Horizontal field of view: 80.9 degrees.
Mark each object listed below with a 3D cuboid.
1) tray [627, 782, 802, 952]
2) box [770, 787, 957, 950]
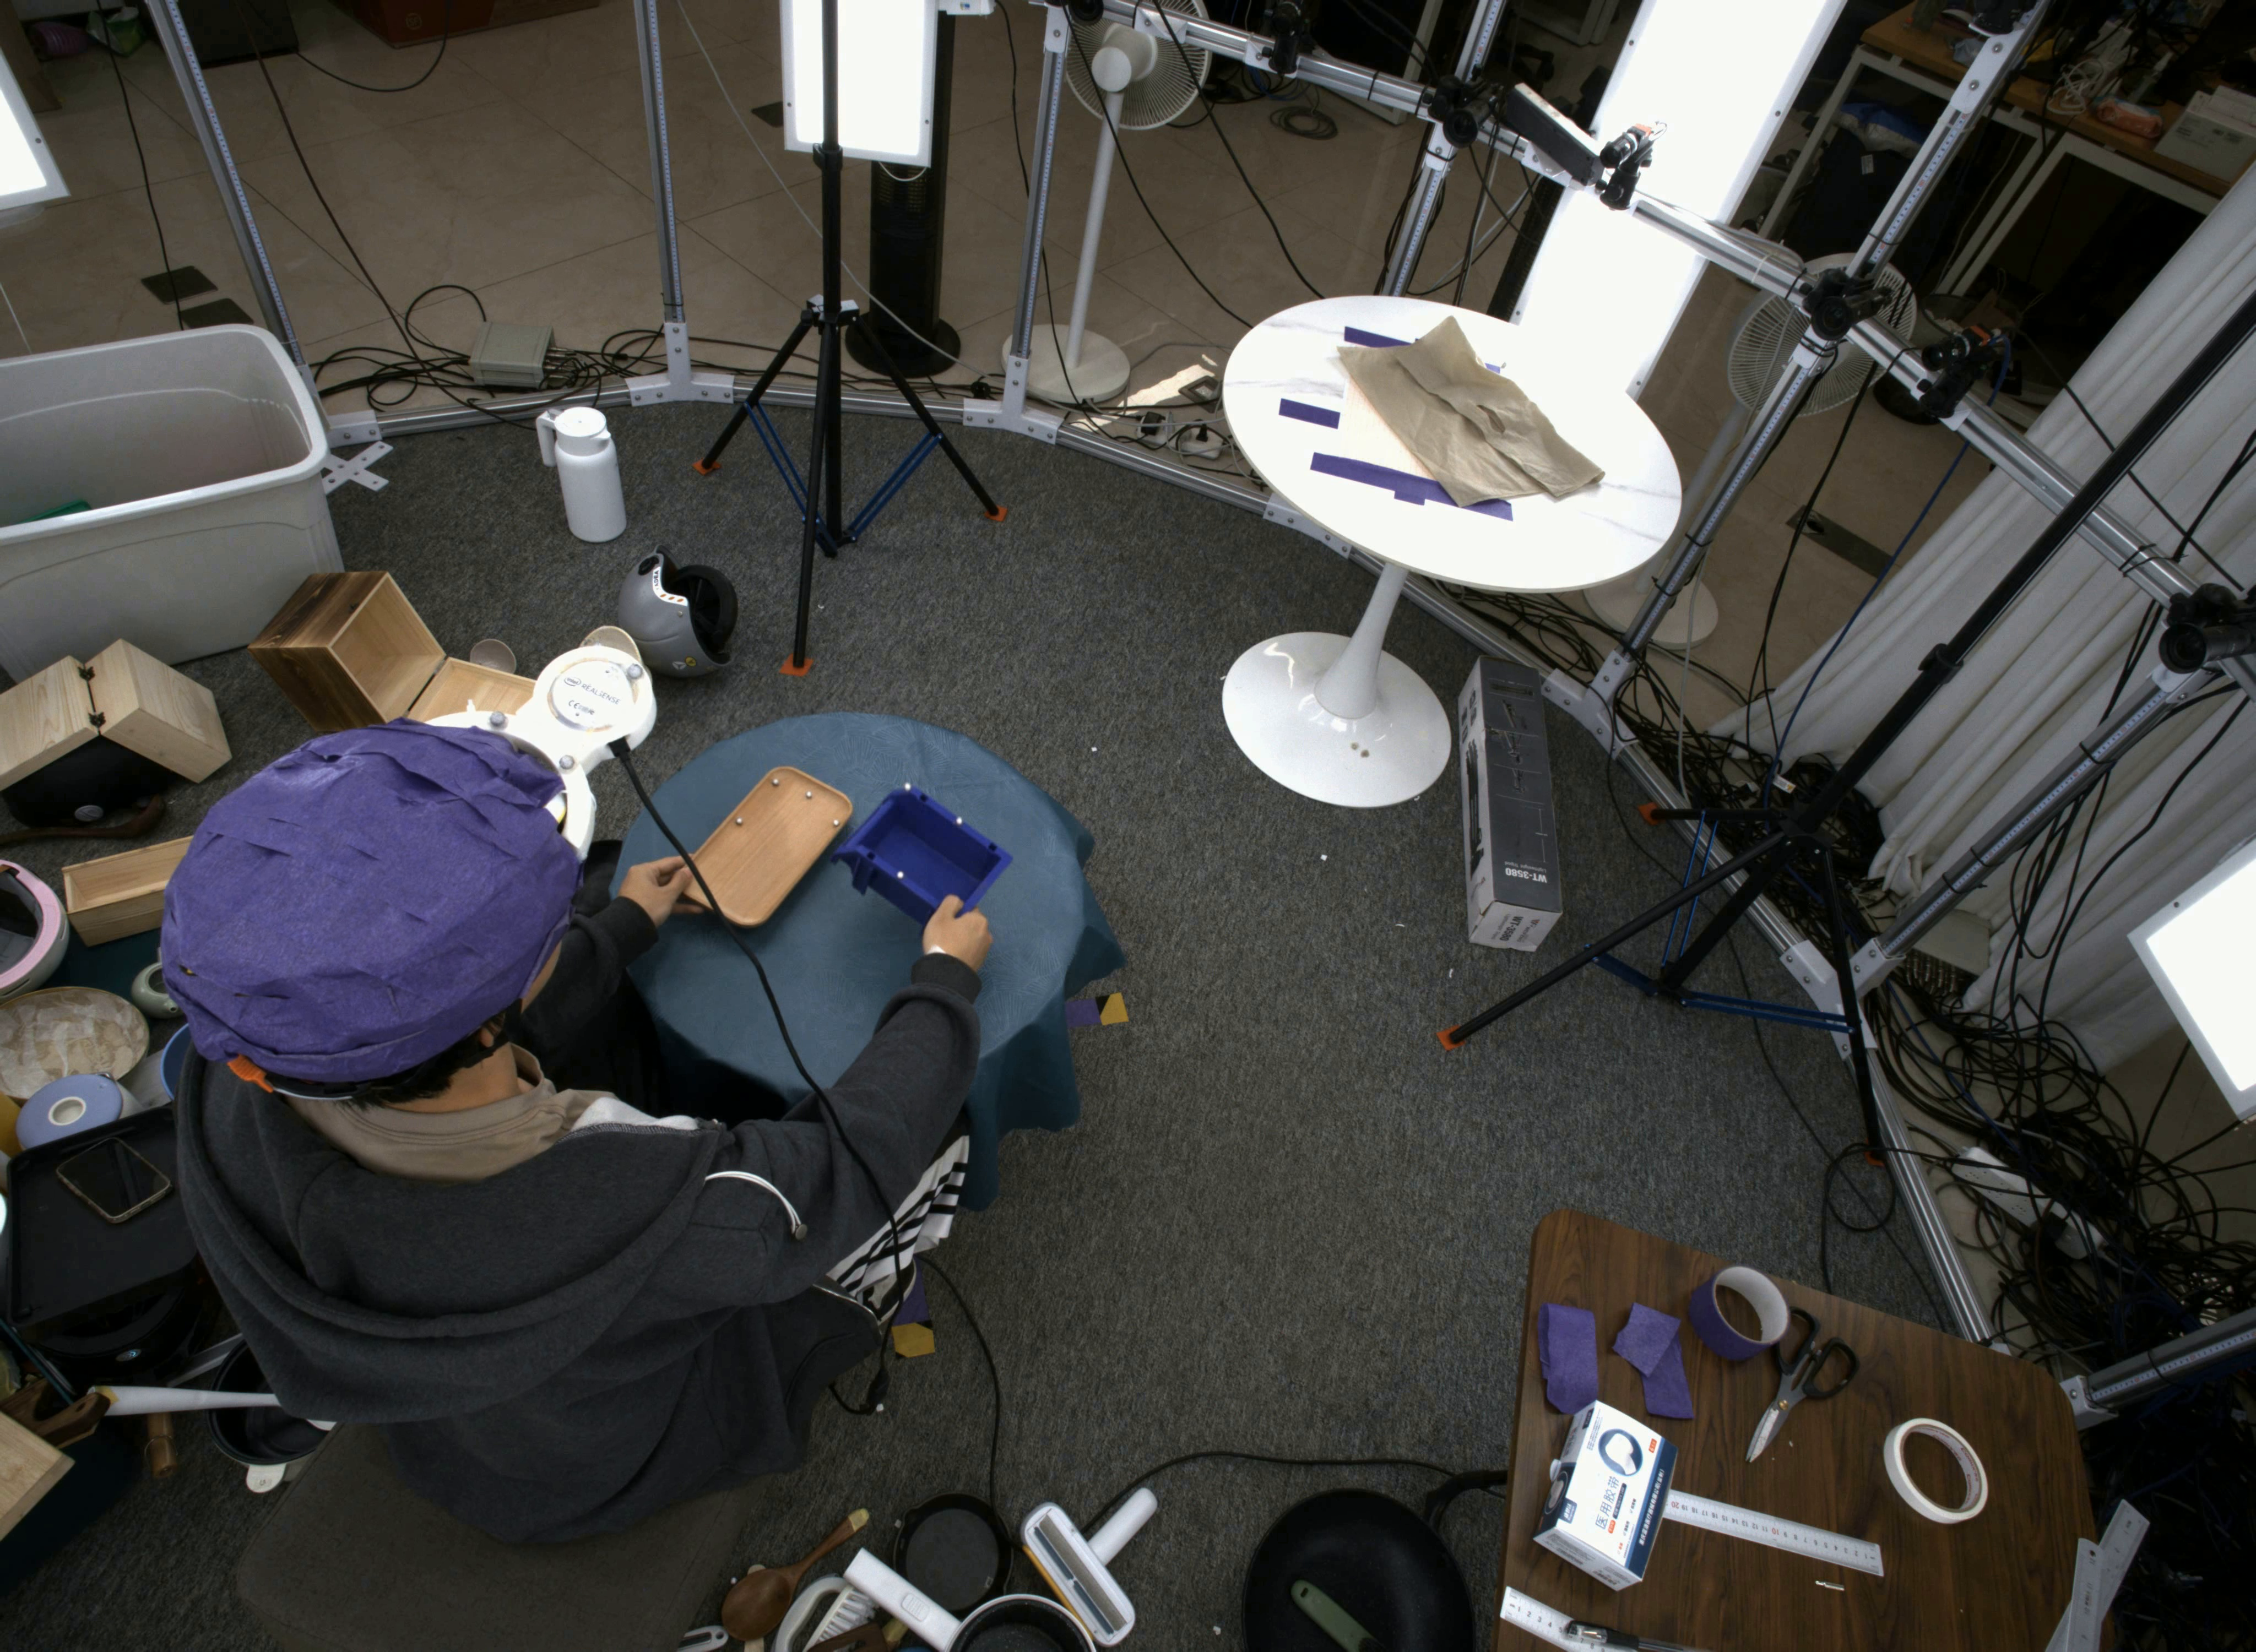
[{"bbox_3d":[-0.518,0.047,1.625,0.129,0.023,0.248,25,49,2],"label":"tray"},{"bbox_3d":[-0.319,0.046,1.554,0.180,0.082,0.124,37,54,-4],"label":"box"}]
